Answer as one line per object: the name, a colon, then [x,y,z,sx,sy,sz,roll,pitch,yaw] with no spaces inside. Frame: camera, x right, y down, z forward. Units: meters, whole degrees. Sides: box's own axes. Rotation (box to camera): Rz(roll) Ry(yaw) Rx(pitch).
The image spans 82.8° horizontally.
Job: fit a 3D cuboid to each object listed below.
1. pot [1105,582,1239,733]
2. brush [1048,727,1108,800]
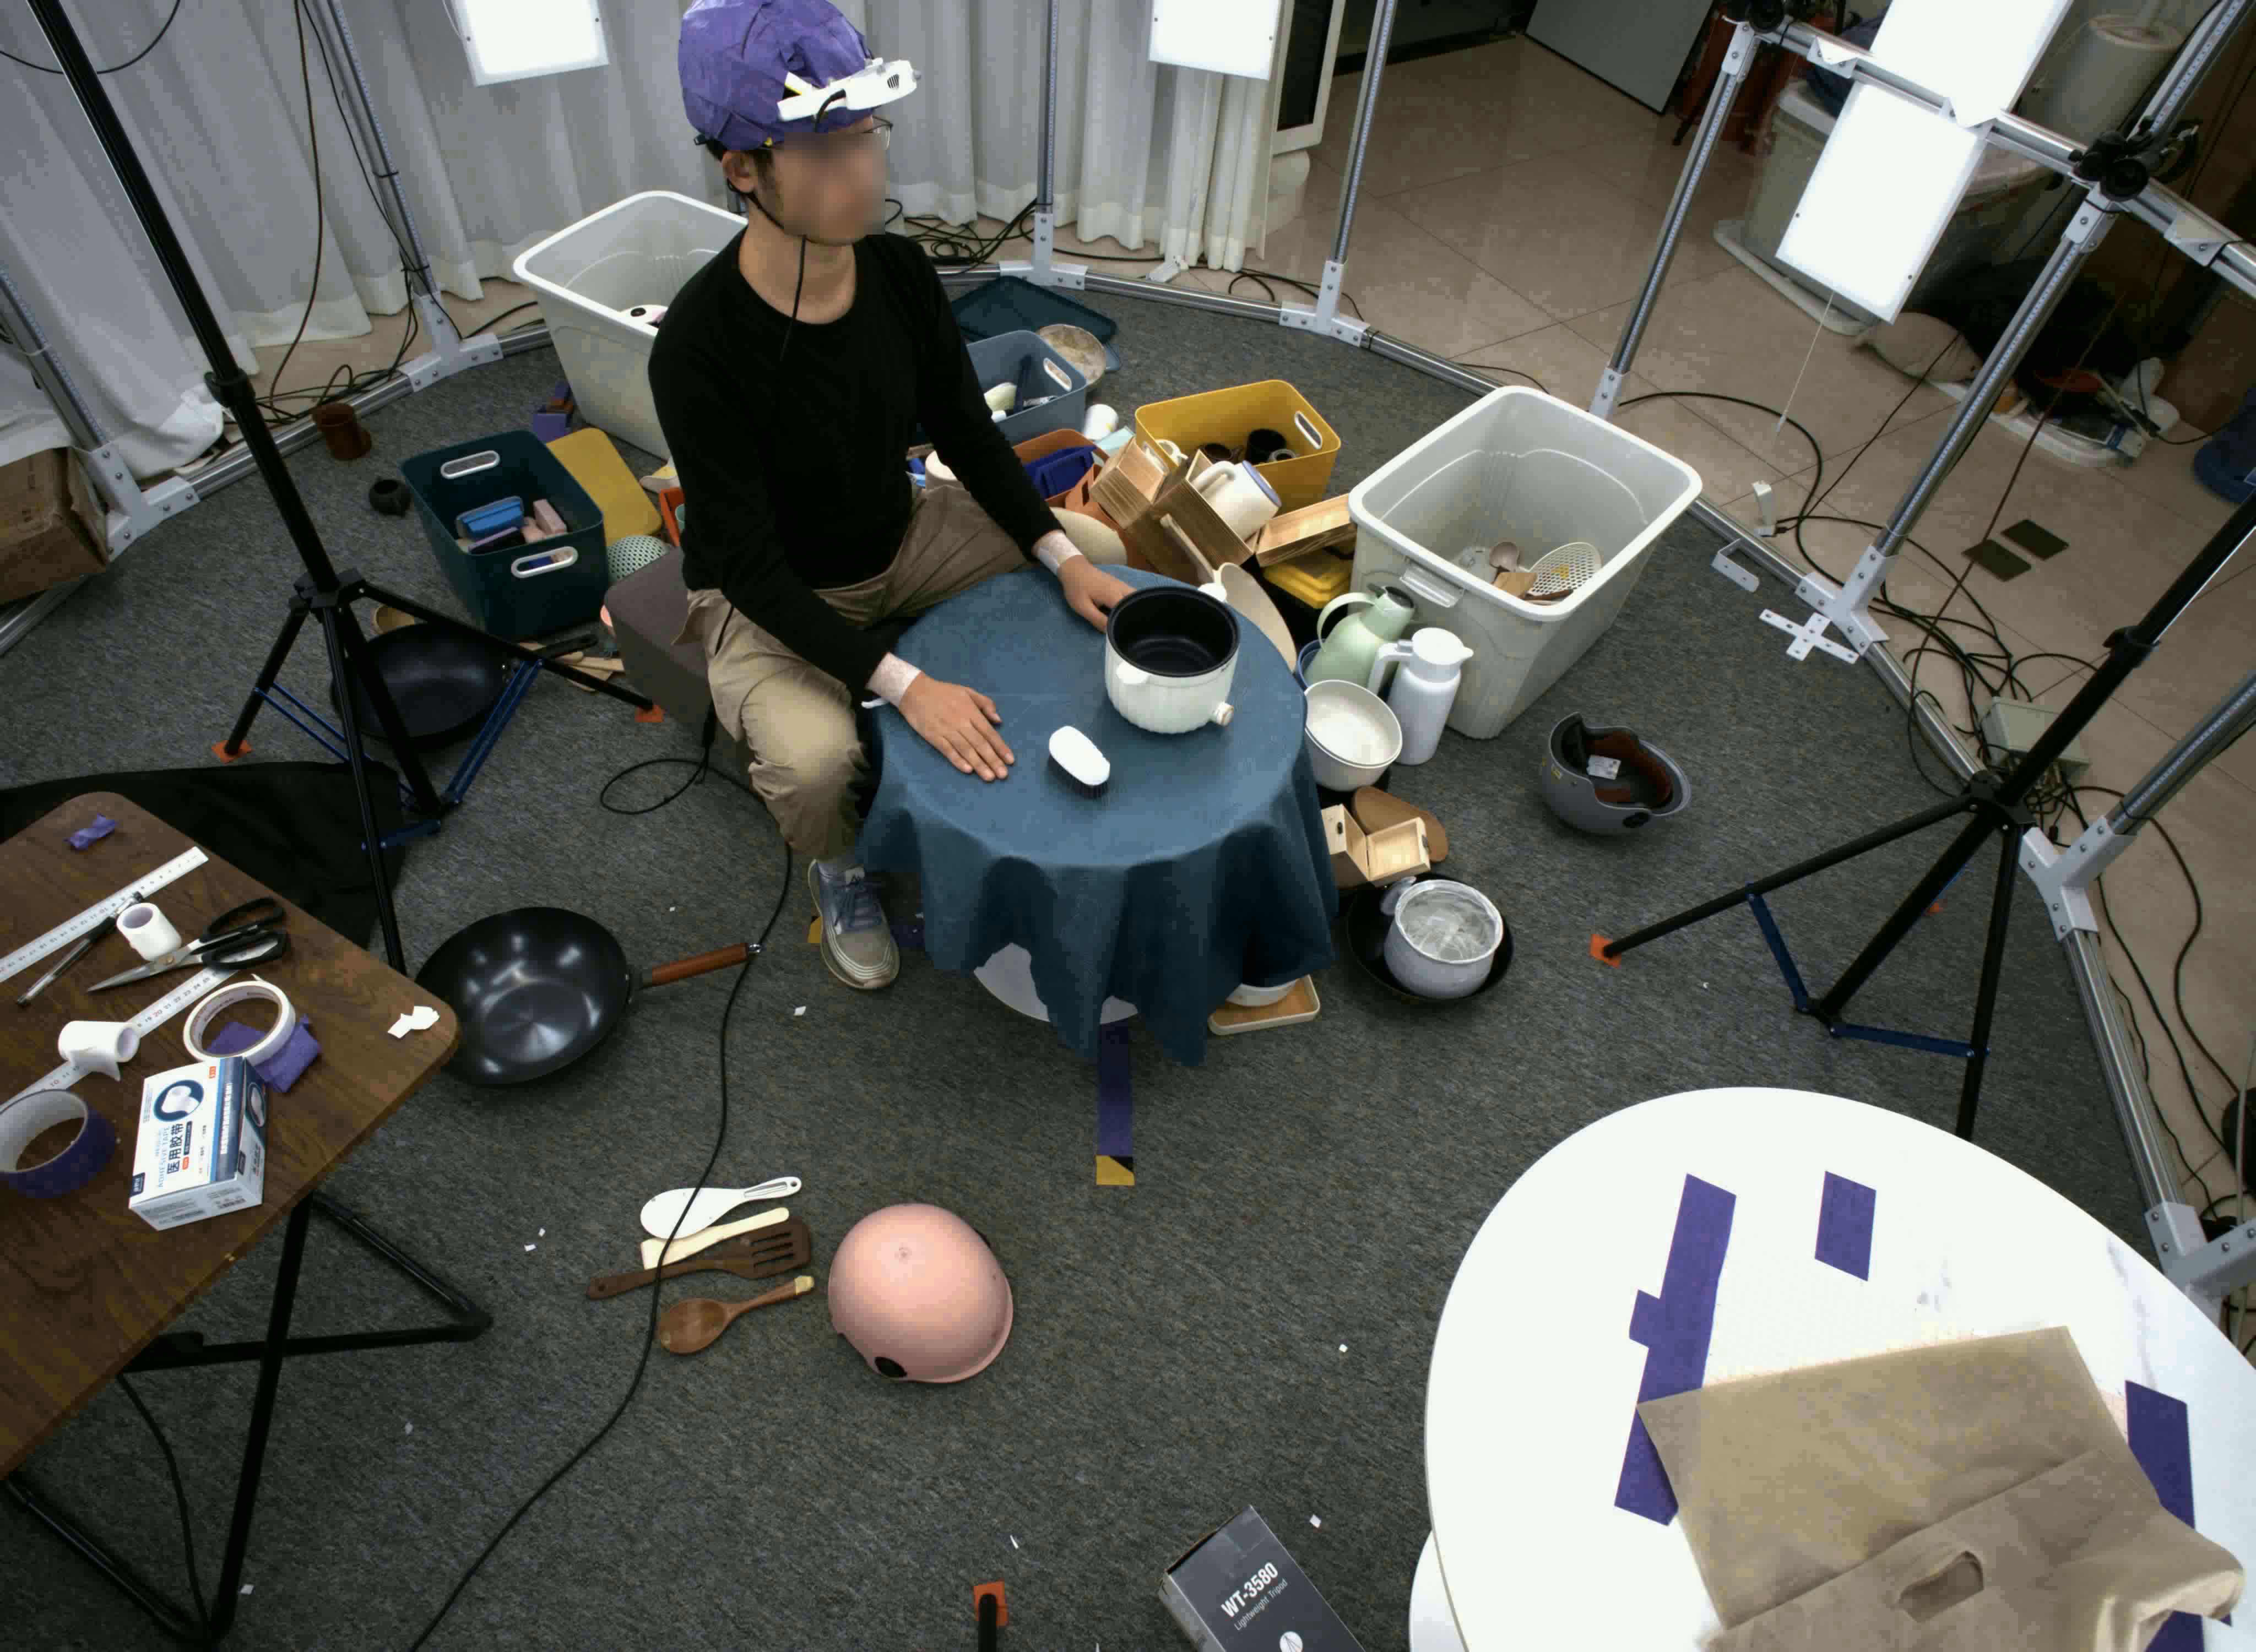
pot: [0.062,-0.222,1.778,0.192,0.139,0.244,26,54,21]
brush: [-0.067,-0.091,1.697,0.050,0.071,0.101,-32,58,-28]
